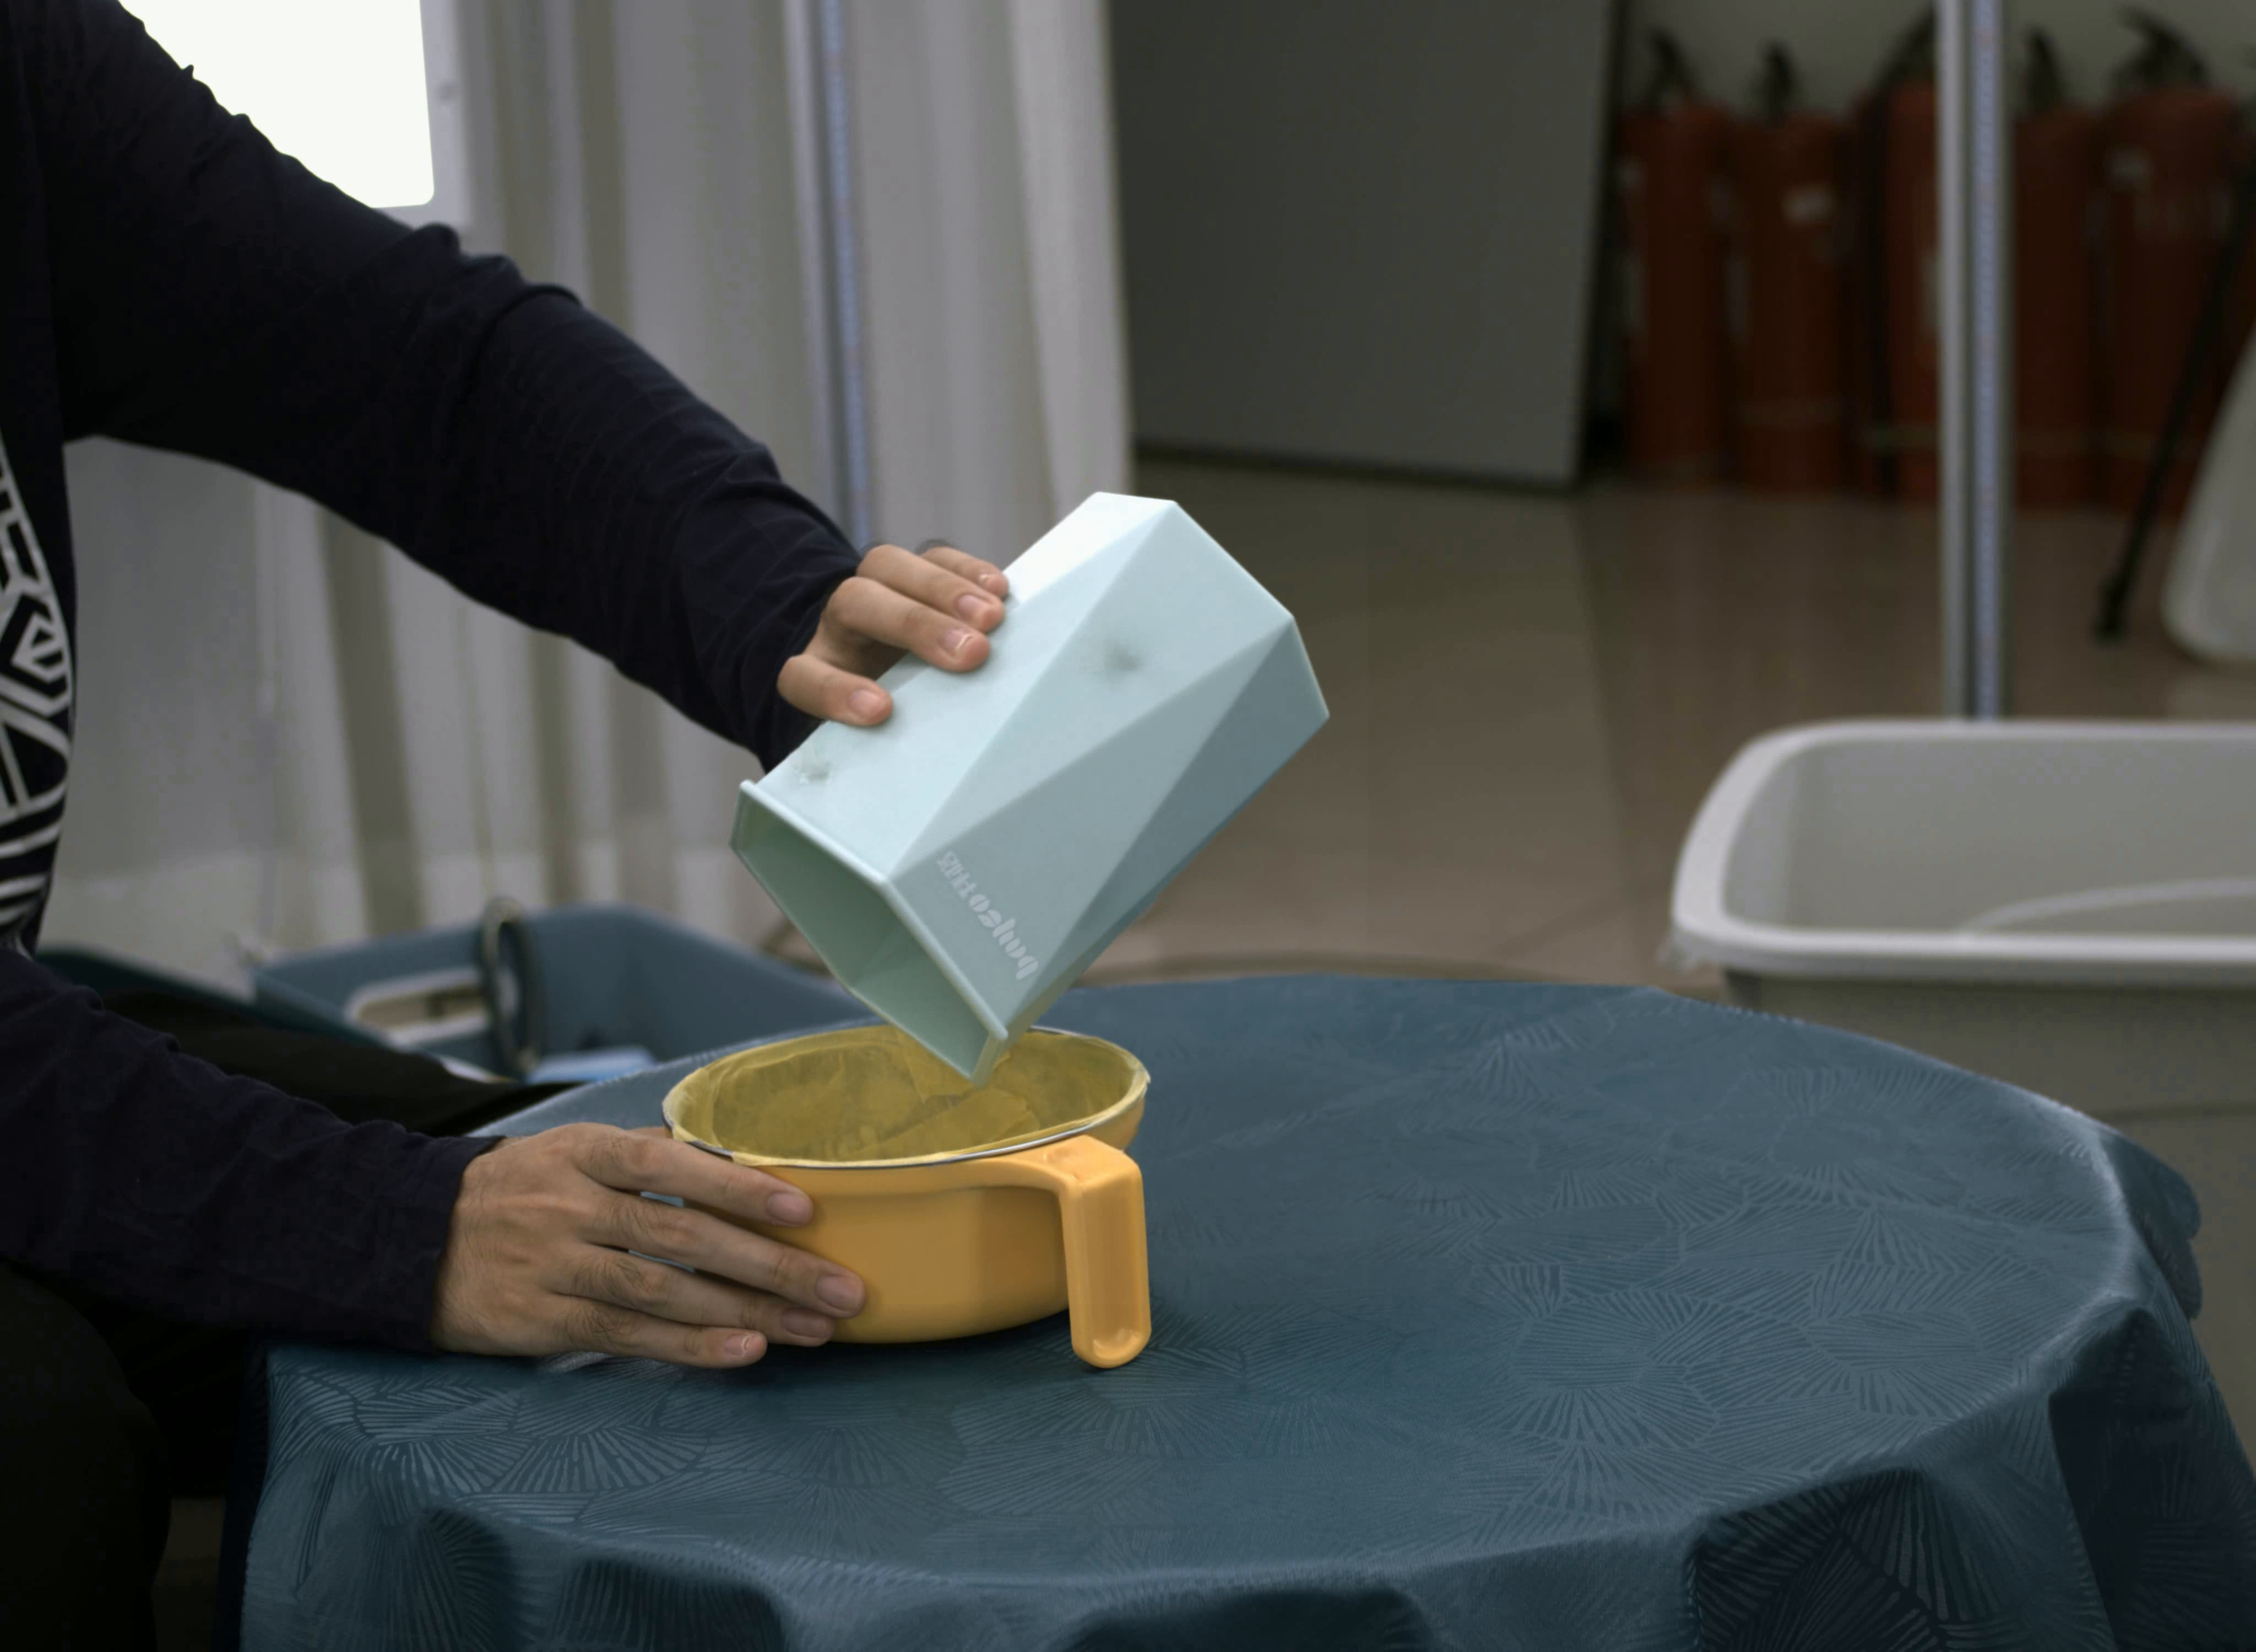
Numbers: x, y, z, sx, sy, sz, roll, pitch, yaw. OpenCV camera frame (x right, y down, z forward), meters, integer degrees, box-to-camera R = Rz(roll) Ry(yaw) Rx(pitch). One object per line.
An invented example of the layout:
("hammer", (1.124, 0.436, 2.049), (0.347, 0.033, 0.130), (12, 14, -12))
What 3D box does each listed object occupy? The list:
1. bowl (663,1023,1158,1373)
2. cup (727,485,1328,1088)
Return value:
("bowl", (-0.059, 0.117, 1.671), (0.150, 0.075, 0.181), (-15, 15, -39))
("cup", (-0.028, -0.020, 1.691), (0.162, 0.130, 0.116), (-42, 19, -16))
